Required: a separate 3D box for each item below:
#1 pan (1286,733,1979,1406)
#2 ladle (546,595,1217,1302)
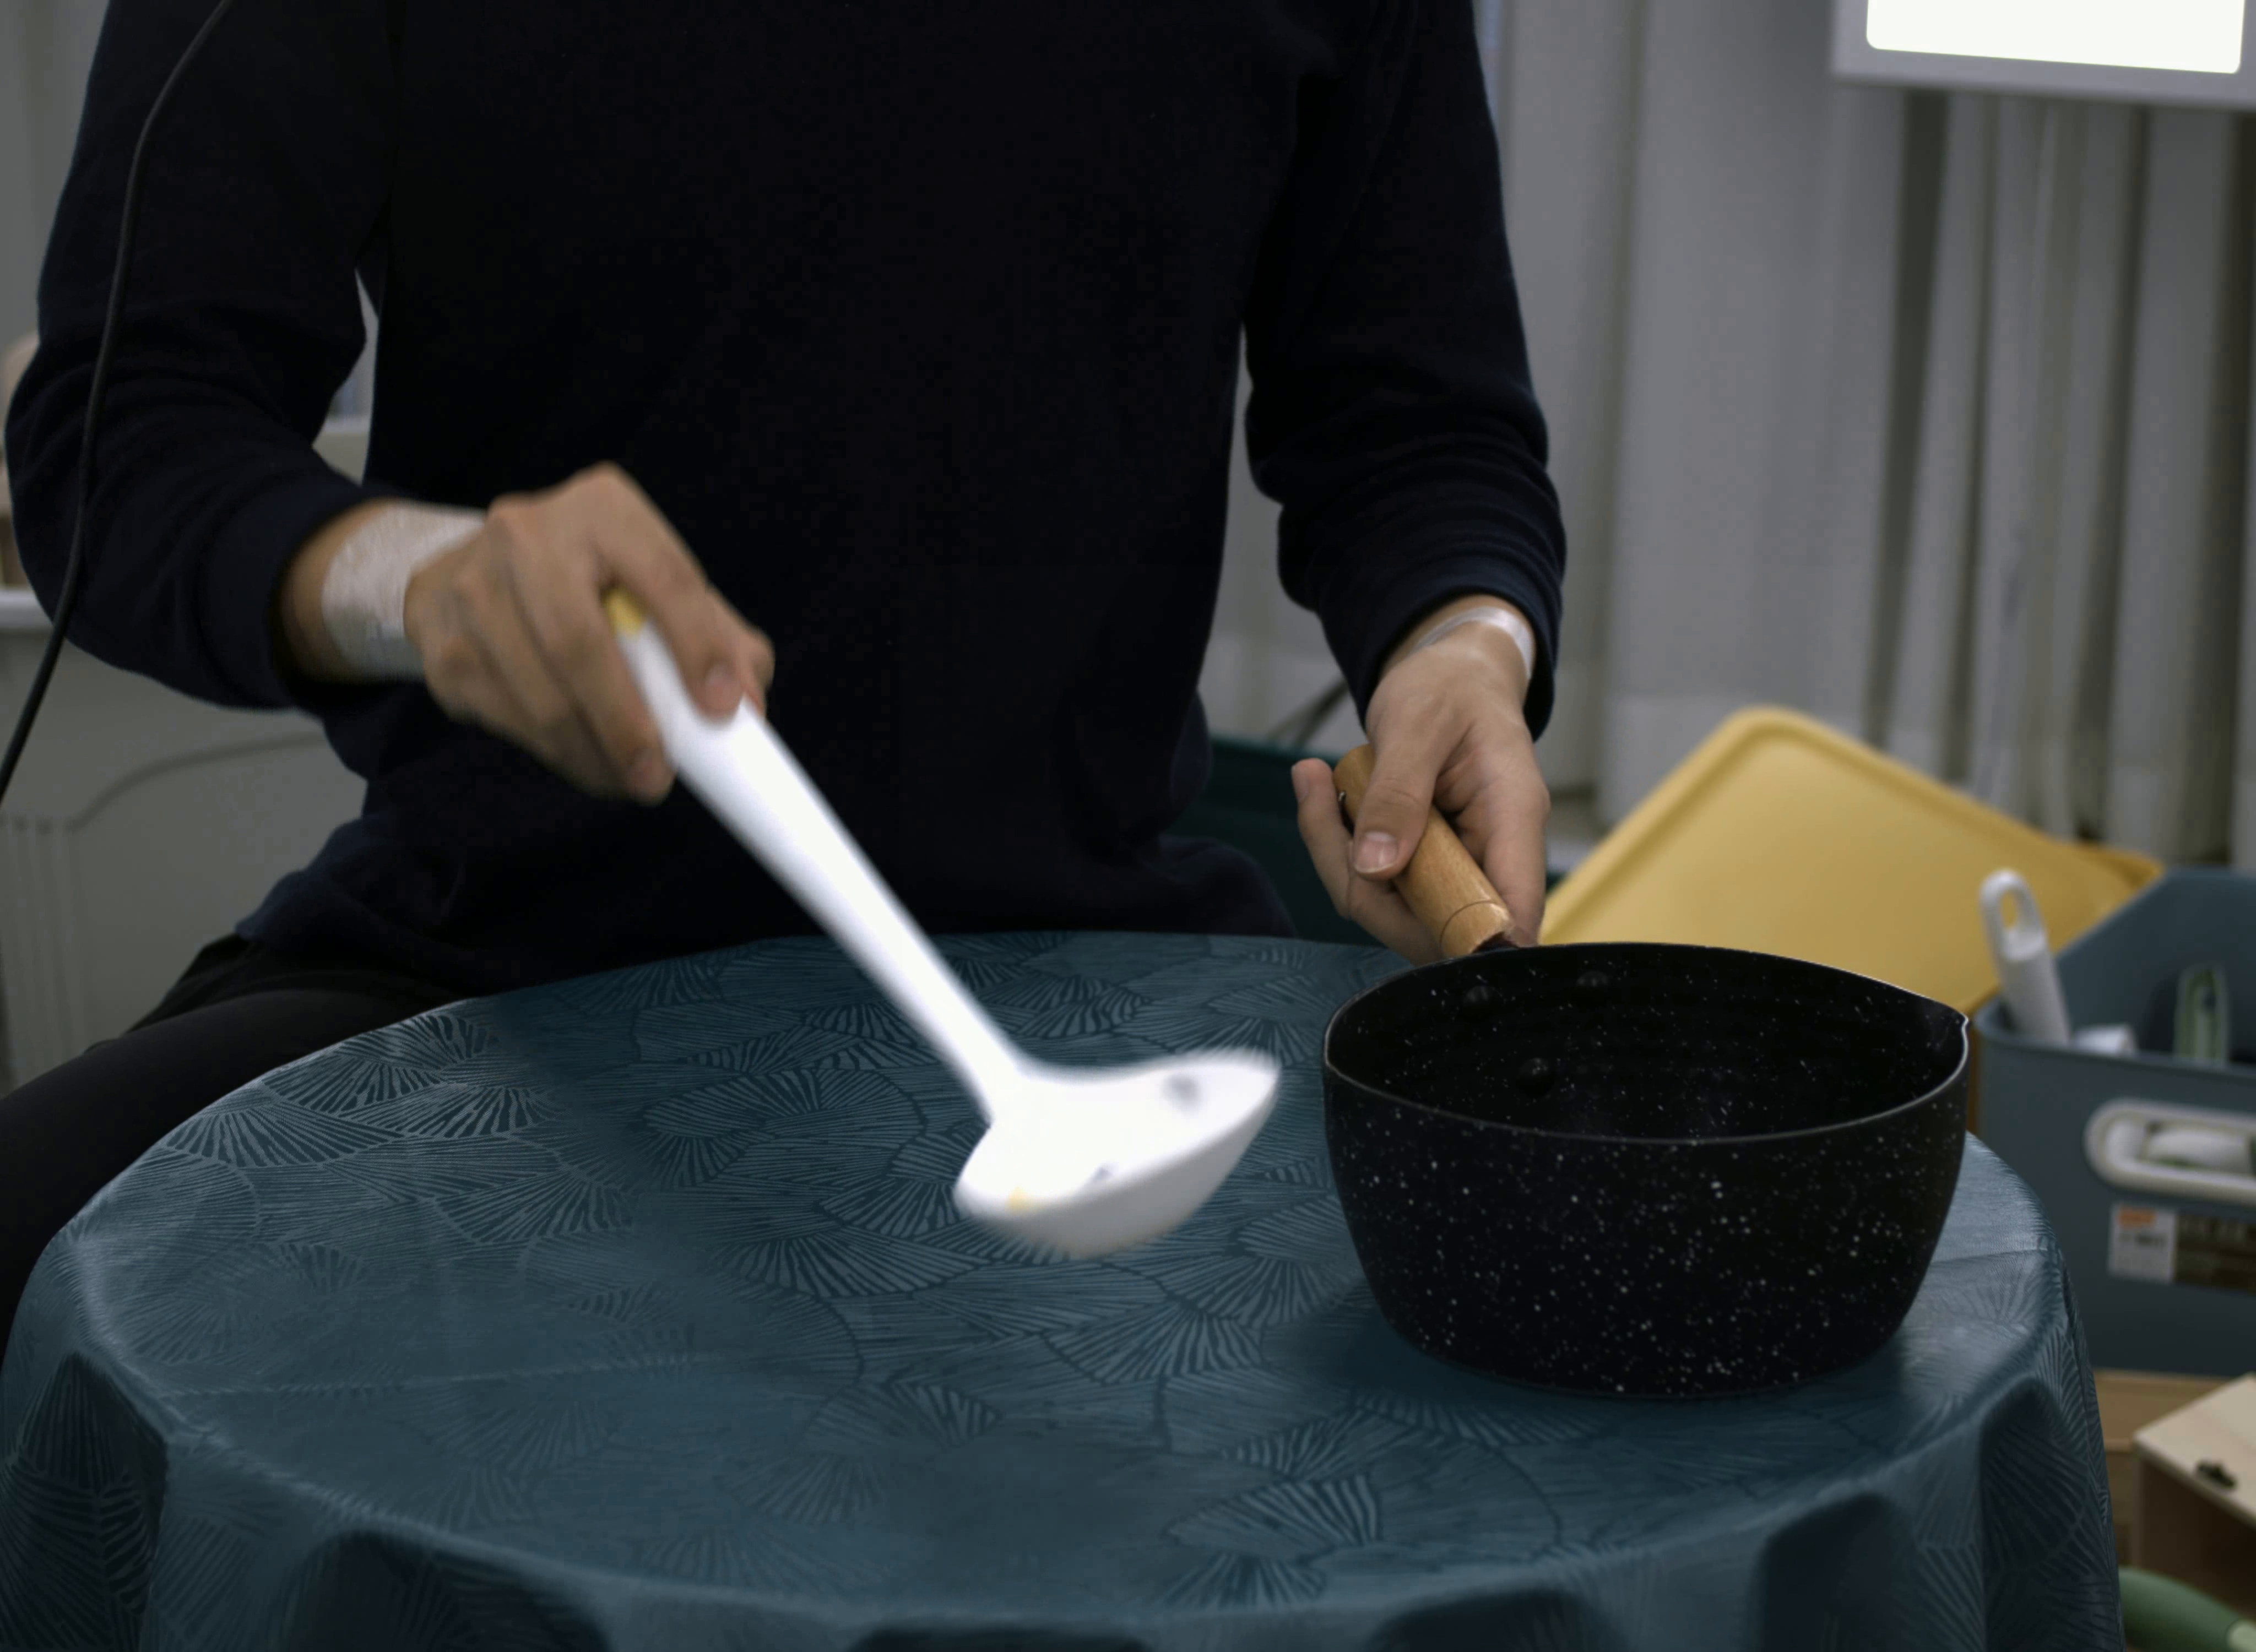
[{"bbox_3d":[0.125,0.068,1.584,0.208,0.109,0.339,-6,18,-17],"label":"pan"},{"bbox_3d":[-0.079,0.024,1.435,0.090,0.071,0.289,-31,56,-14],"label":"ladle"}]
